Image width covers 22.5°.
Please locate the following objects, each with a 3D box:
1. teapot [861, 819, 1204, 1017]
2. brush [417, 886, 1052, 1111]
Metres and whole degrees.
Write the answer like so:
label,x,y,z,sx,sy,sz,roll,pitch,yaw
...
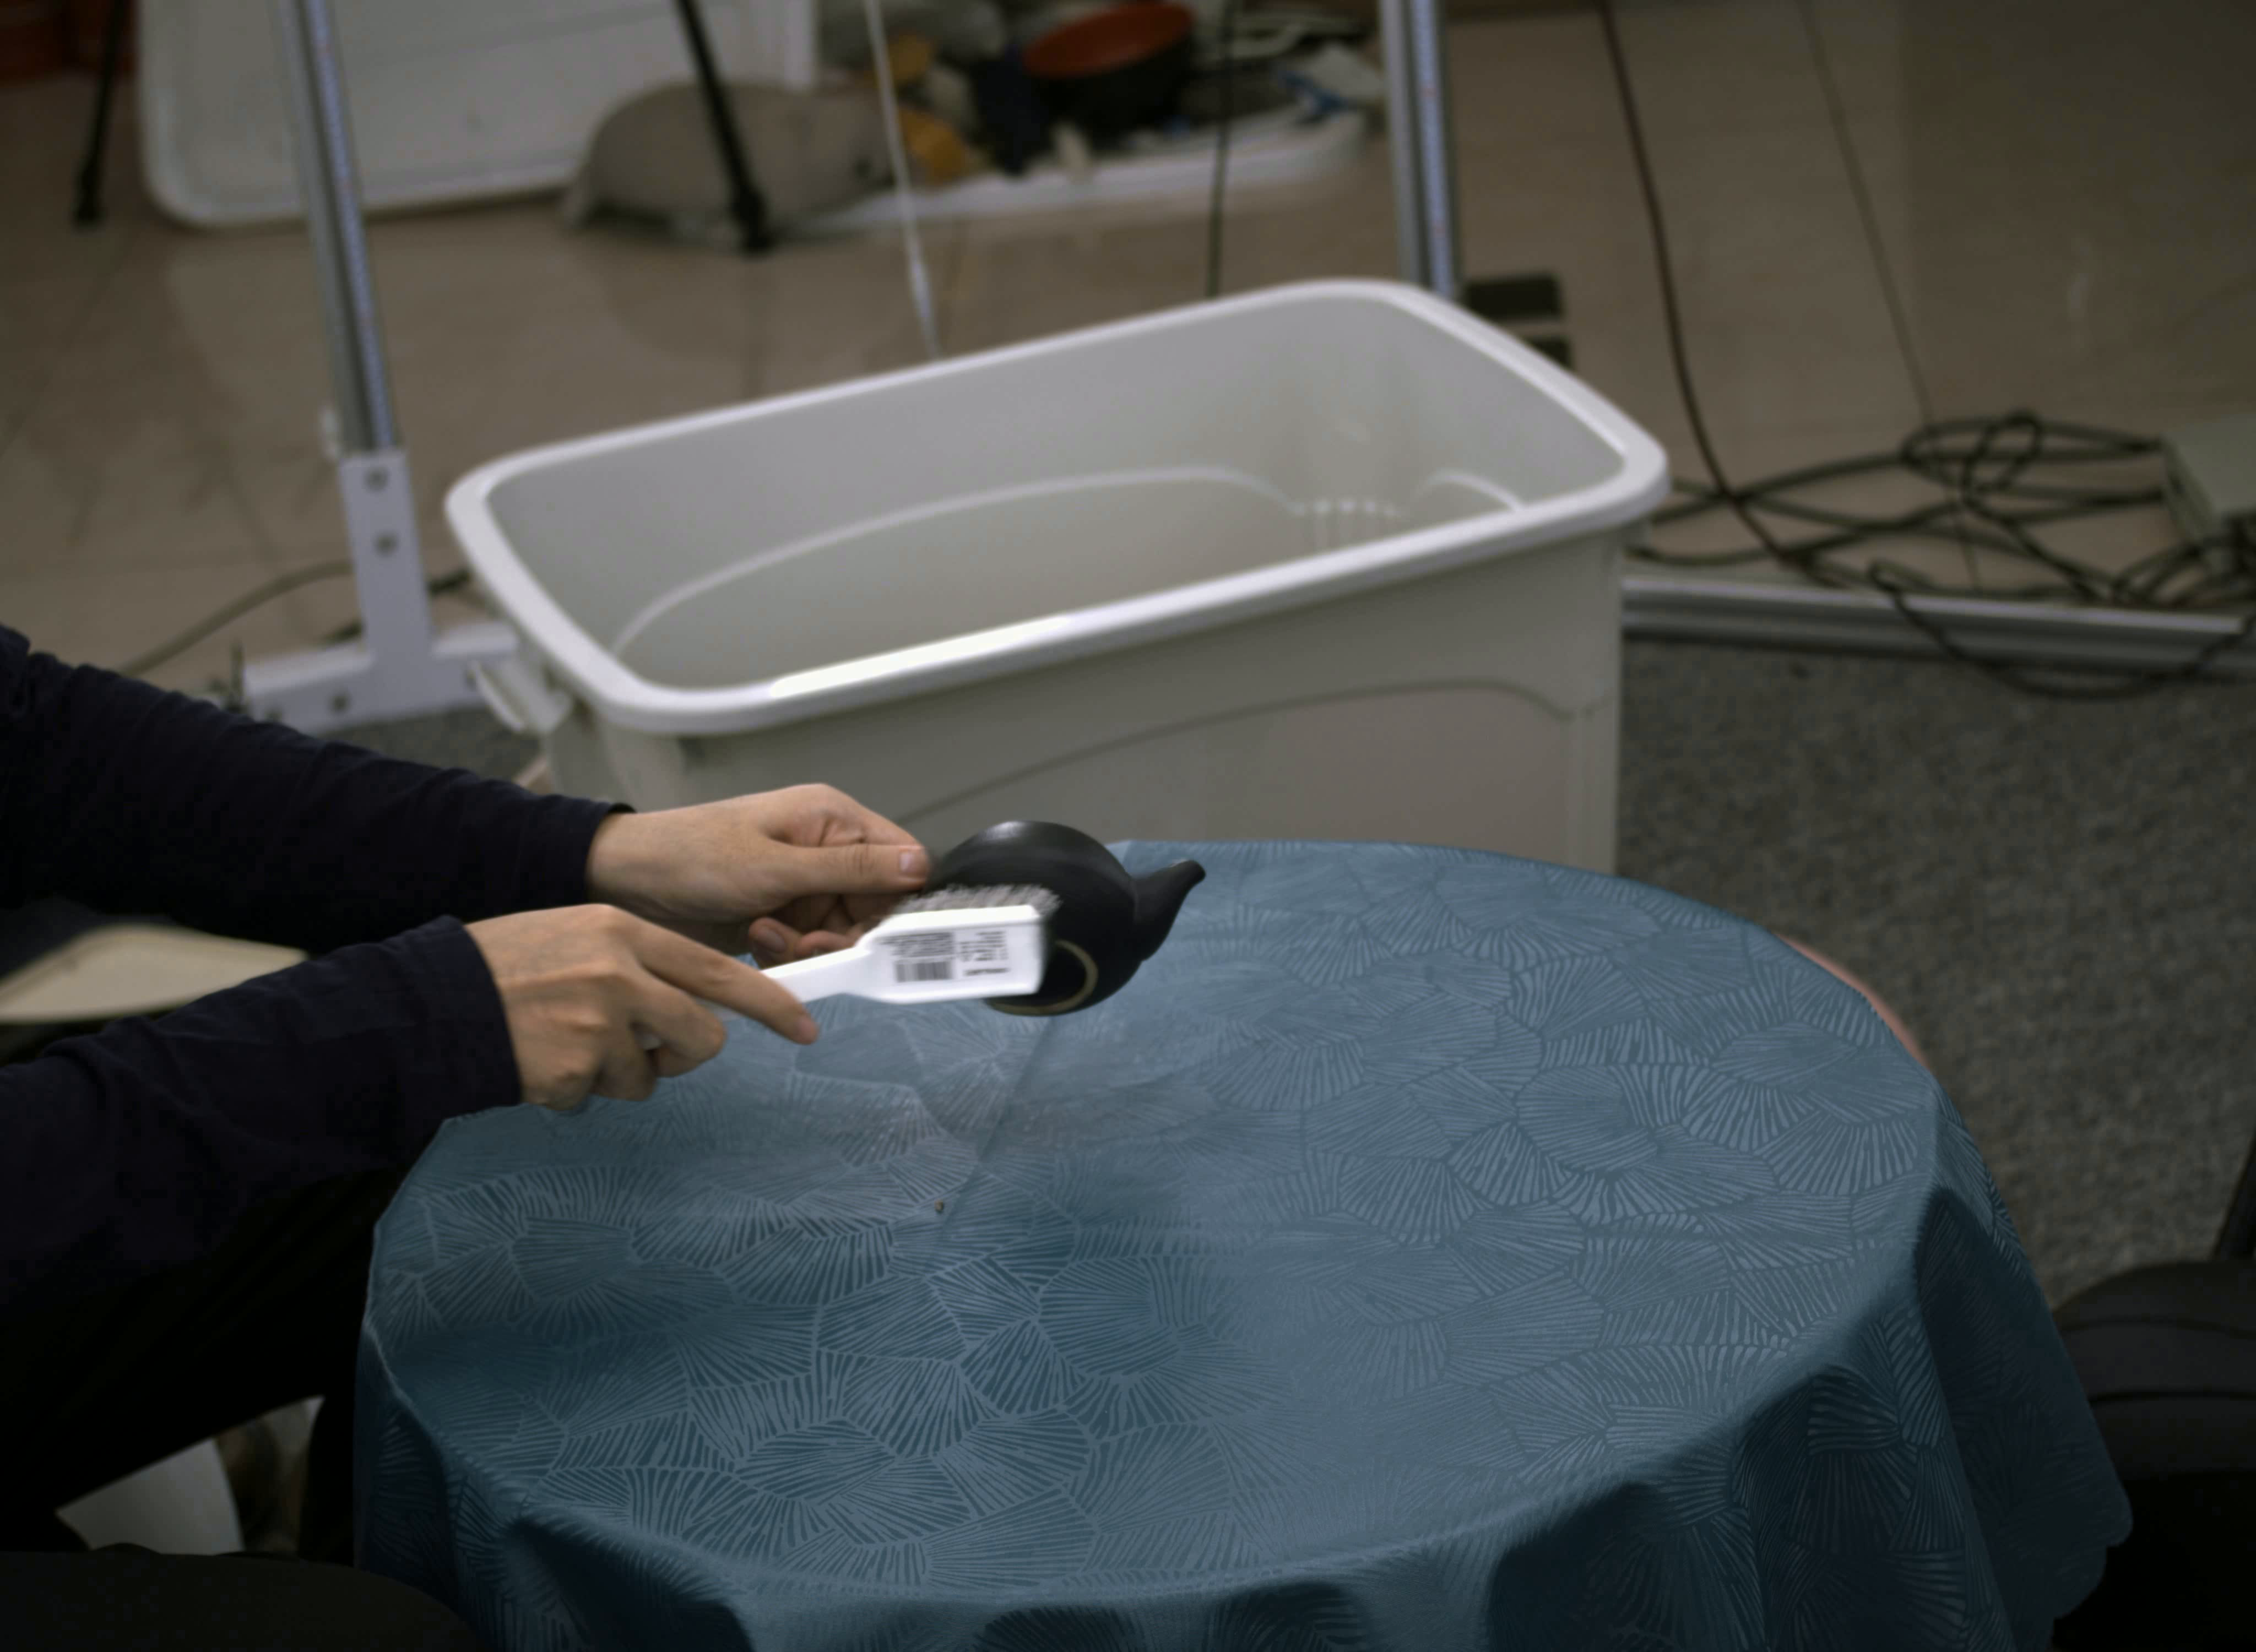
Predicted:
label,x,y,z,sx,sy,sz,roll,pitch,yaw
teapot,-0.038,0.036,2.186,0.133,0.093,0.052,0,50,7
brush,-0.147,0.064,2.124,0.243,0.035,0.049,-13,19,-5
